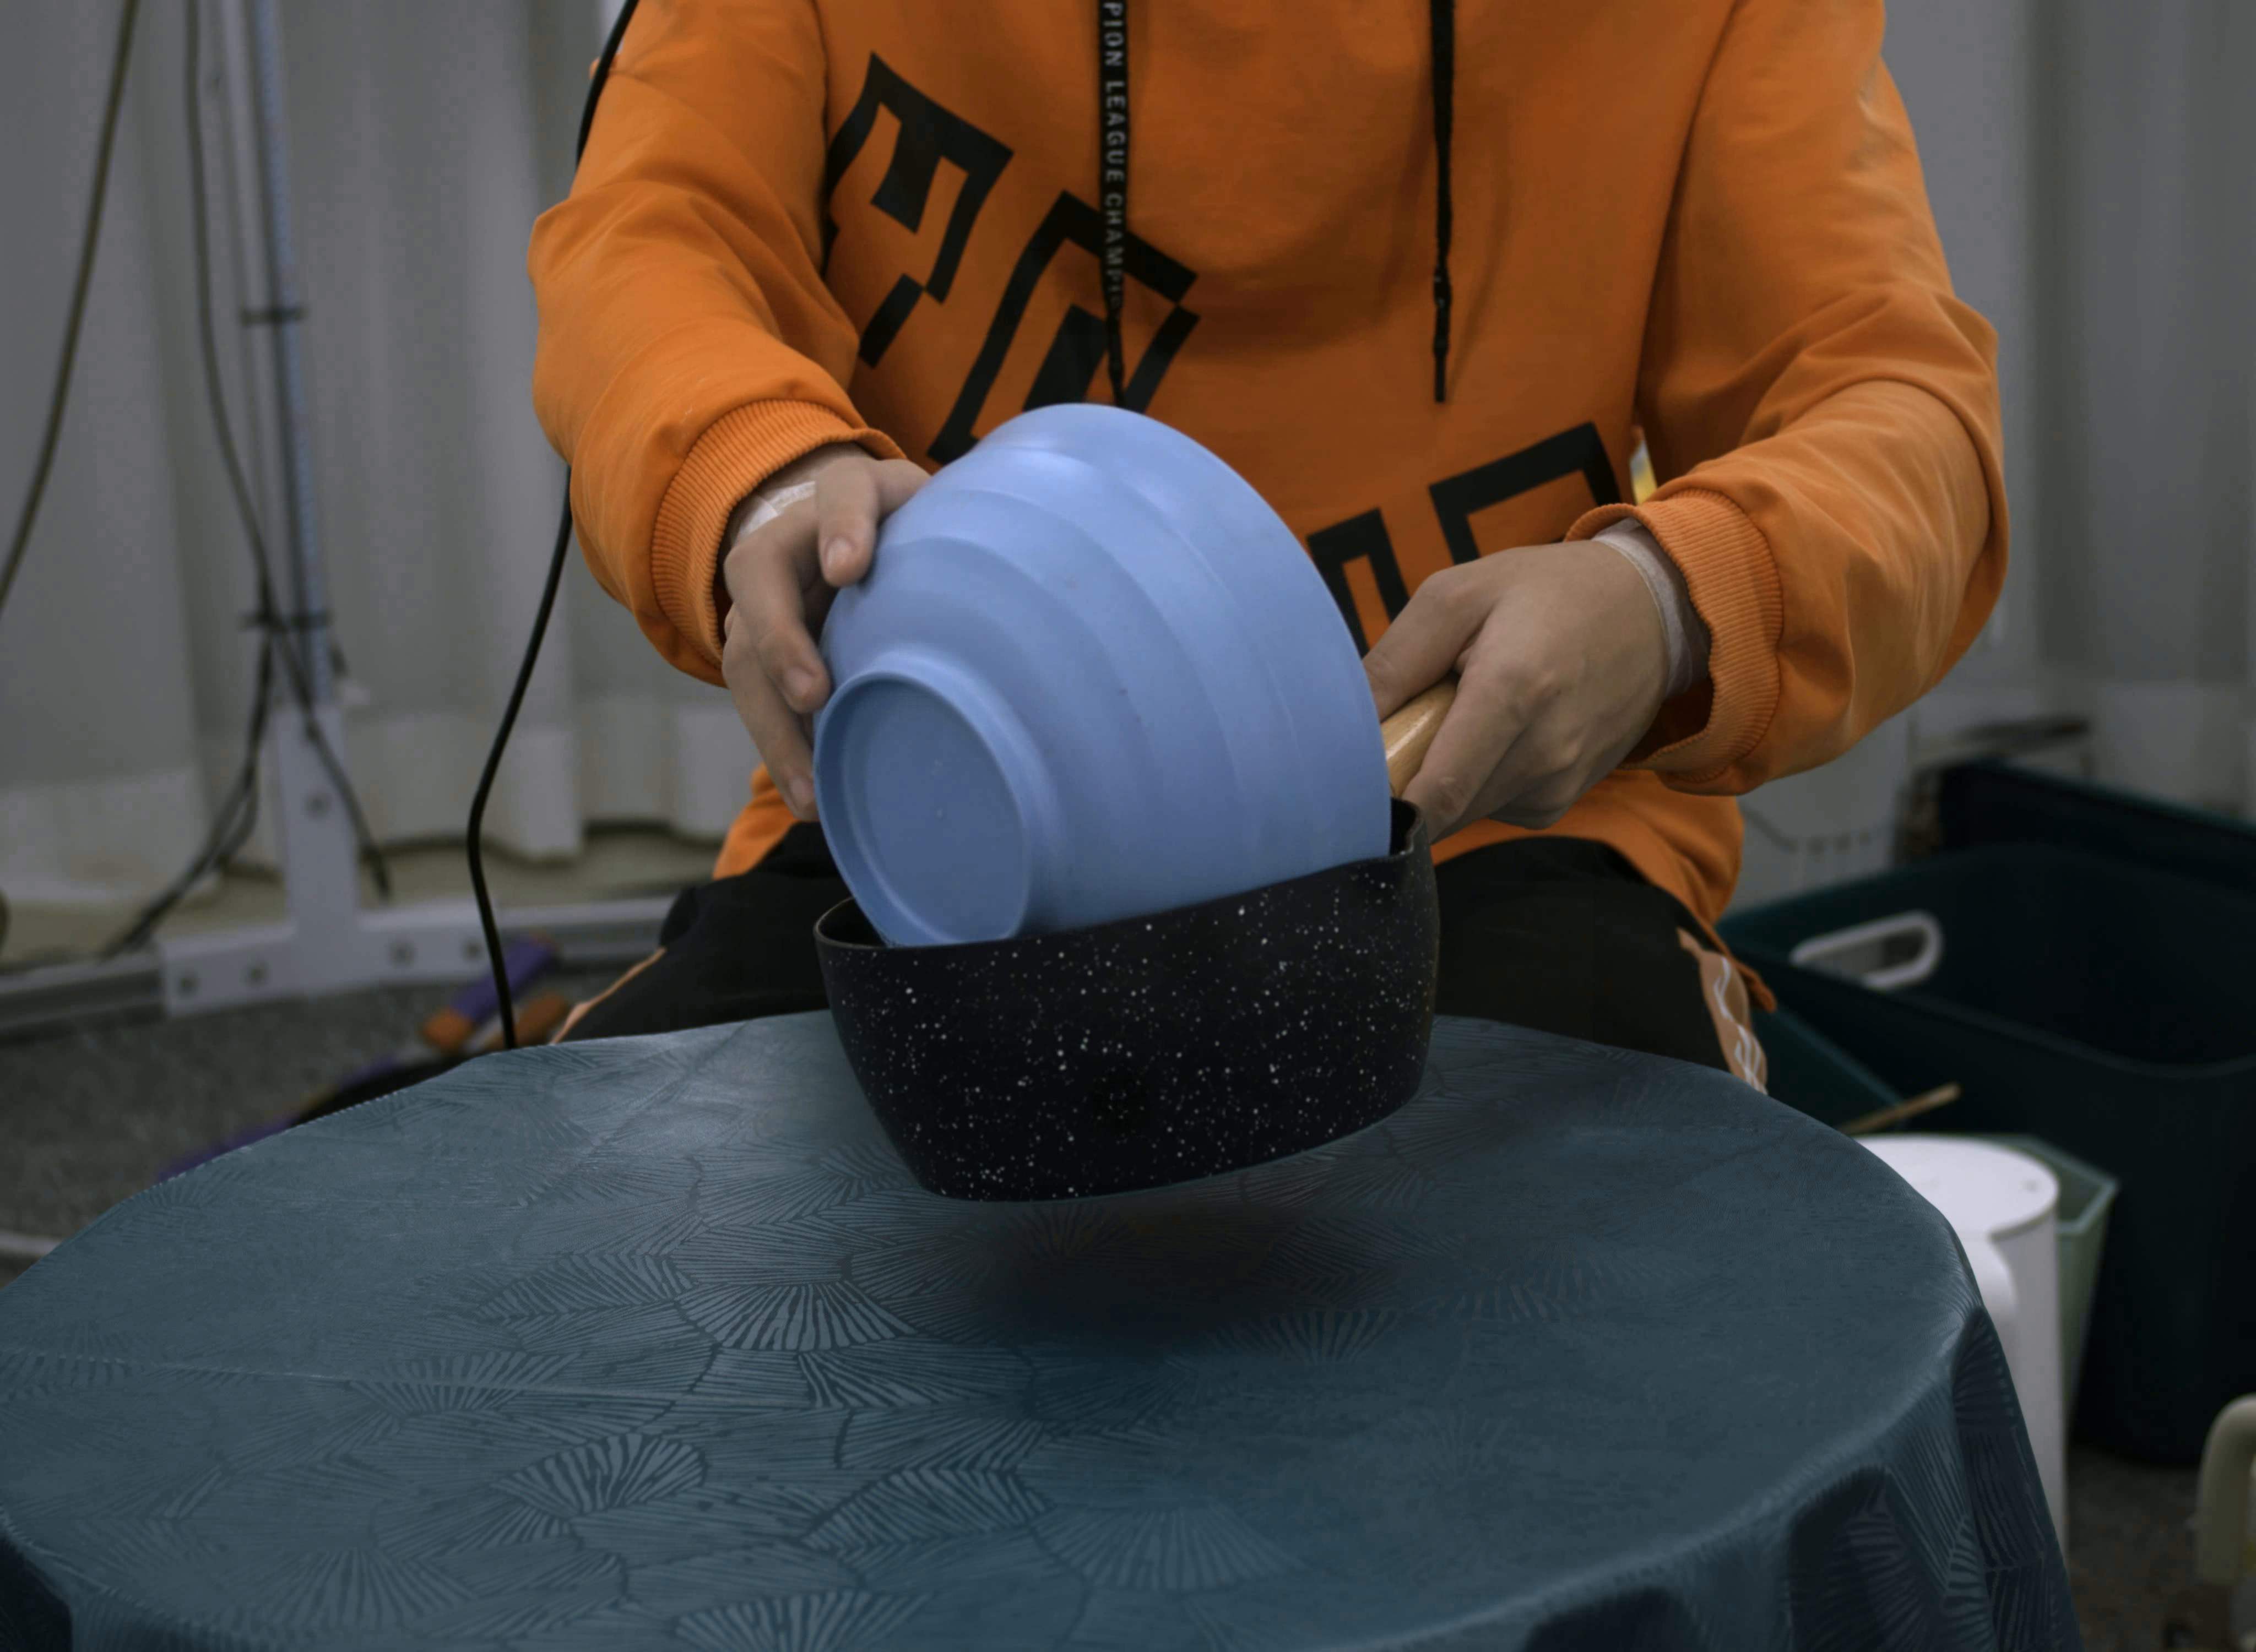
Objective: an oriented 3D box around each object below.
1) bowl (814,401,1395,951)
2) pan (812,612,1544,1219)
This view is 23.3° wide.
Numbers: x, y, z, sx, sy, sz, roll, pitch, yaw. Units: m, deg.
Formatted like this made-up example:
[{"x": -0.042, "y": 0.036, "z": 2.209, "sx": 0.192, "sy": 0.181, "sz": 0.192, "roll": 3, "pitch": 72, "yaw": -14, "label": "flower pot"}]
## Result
[{"x": -0.026, "y": -0.017, "z": 1.588, "sx": 0.095, "sy": 0.195, "sz": 0.197, "roll": -22, "pitch": 24, "yaw": -39, "label": "bowl"}, {"x": 0.044, "y": 0.024, "z": 1.684, "sx": 0.207, "sy": 0.108, "sz": 0.343, "roll": -7, "pitch": 11, "yaw": 34, "label": "pan"}]
